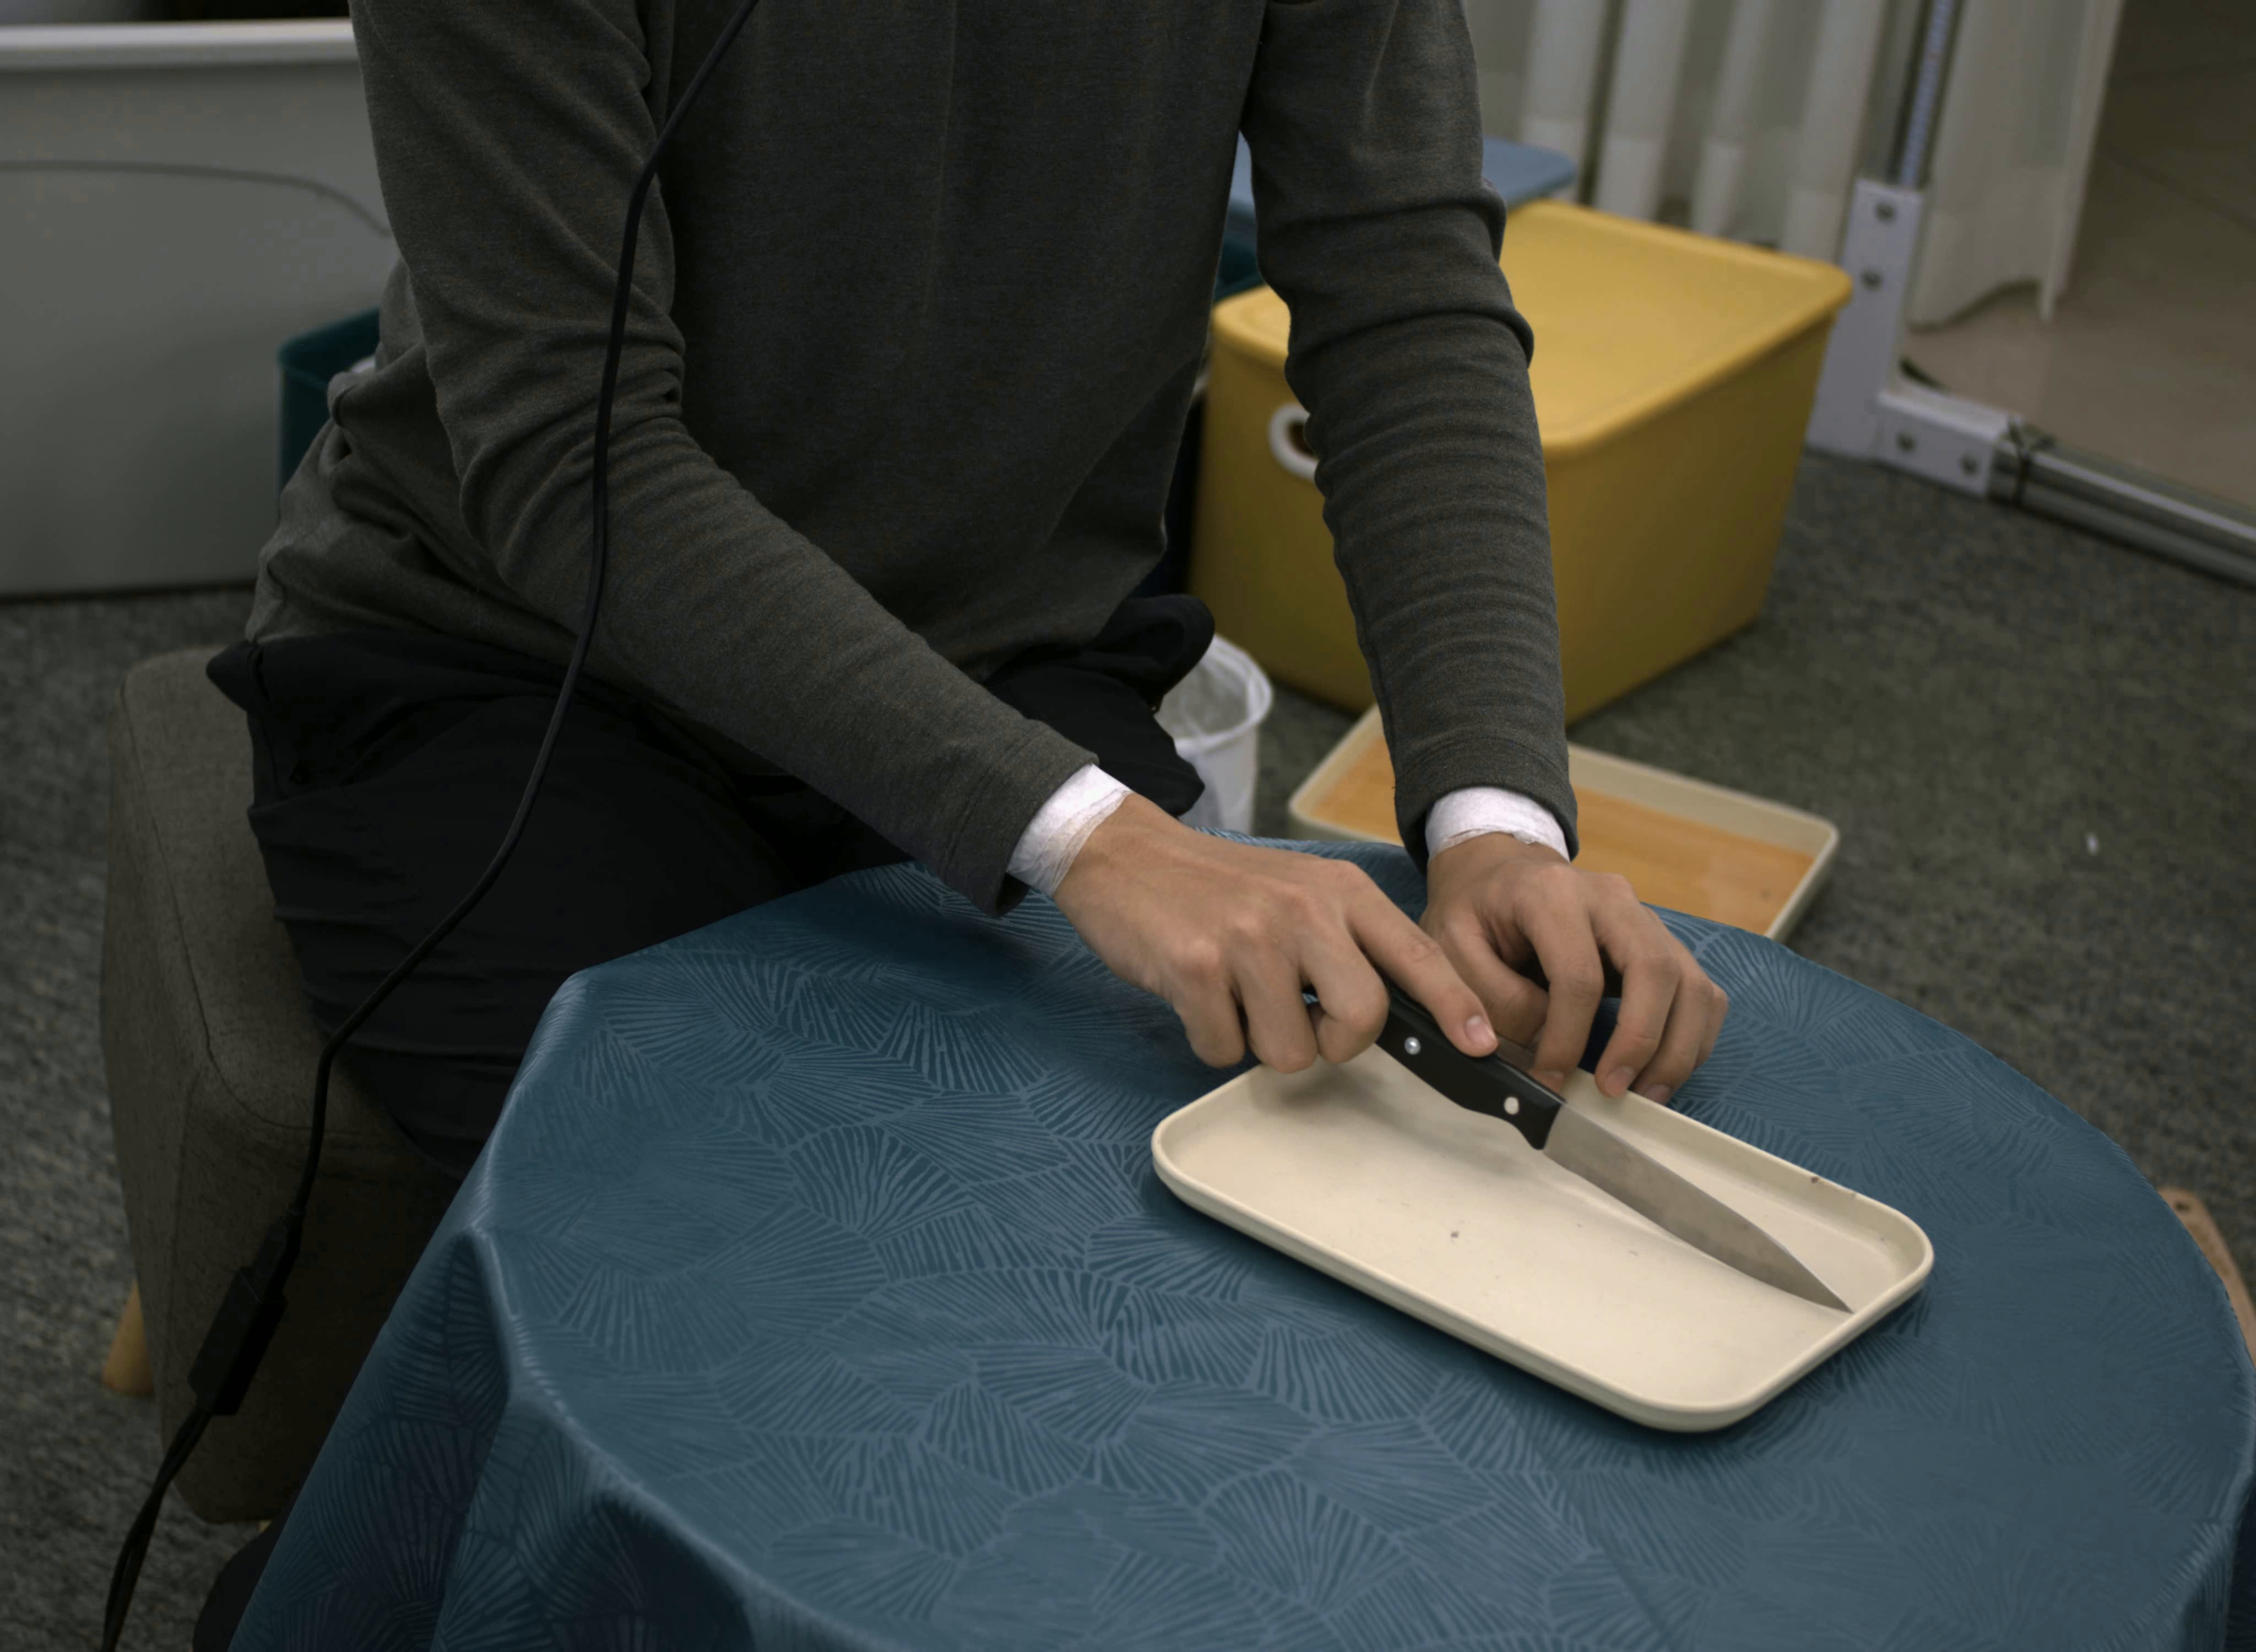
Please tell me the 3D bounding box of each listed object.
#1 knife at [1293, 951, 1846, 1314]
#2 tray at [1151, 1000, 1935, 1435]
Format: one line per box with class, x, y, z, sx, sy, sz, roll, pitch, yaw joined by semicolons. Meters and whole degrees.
knife;0.152;0.106;1.821;0.239;0.024;0.016;33;39;26
tray;0.139;0.131;1.803;0.241;0.017;0.170;24;32;31
